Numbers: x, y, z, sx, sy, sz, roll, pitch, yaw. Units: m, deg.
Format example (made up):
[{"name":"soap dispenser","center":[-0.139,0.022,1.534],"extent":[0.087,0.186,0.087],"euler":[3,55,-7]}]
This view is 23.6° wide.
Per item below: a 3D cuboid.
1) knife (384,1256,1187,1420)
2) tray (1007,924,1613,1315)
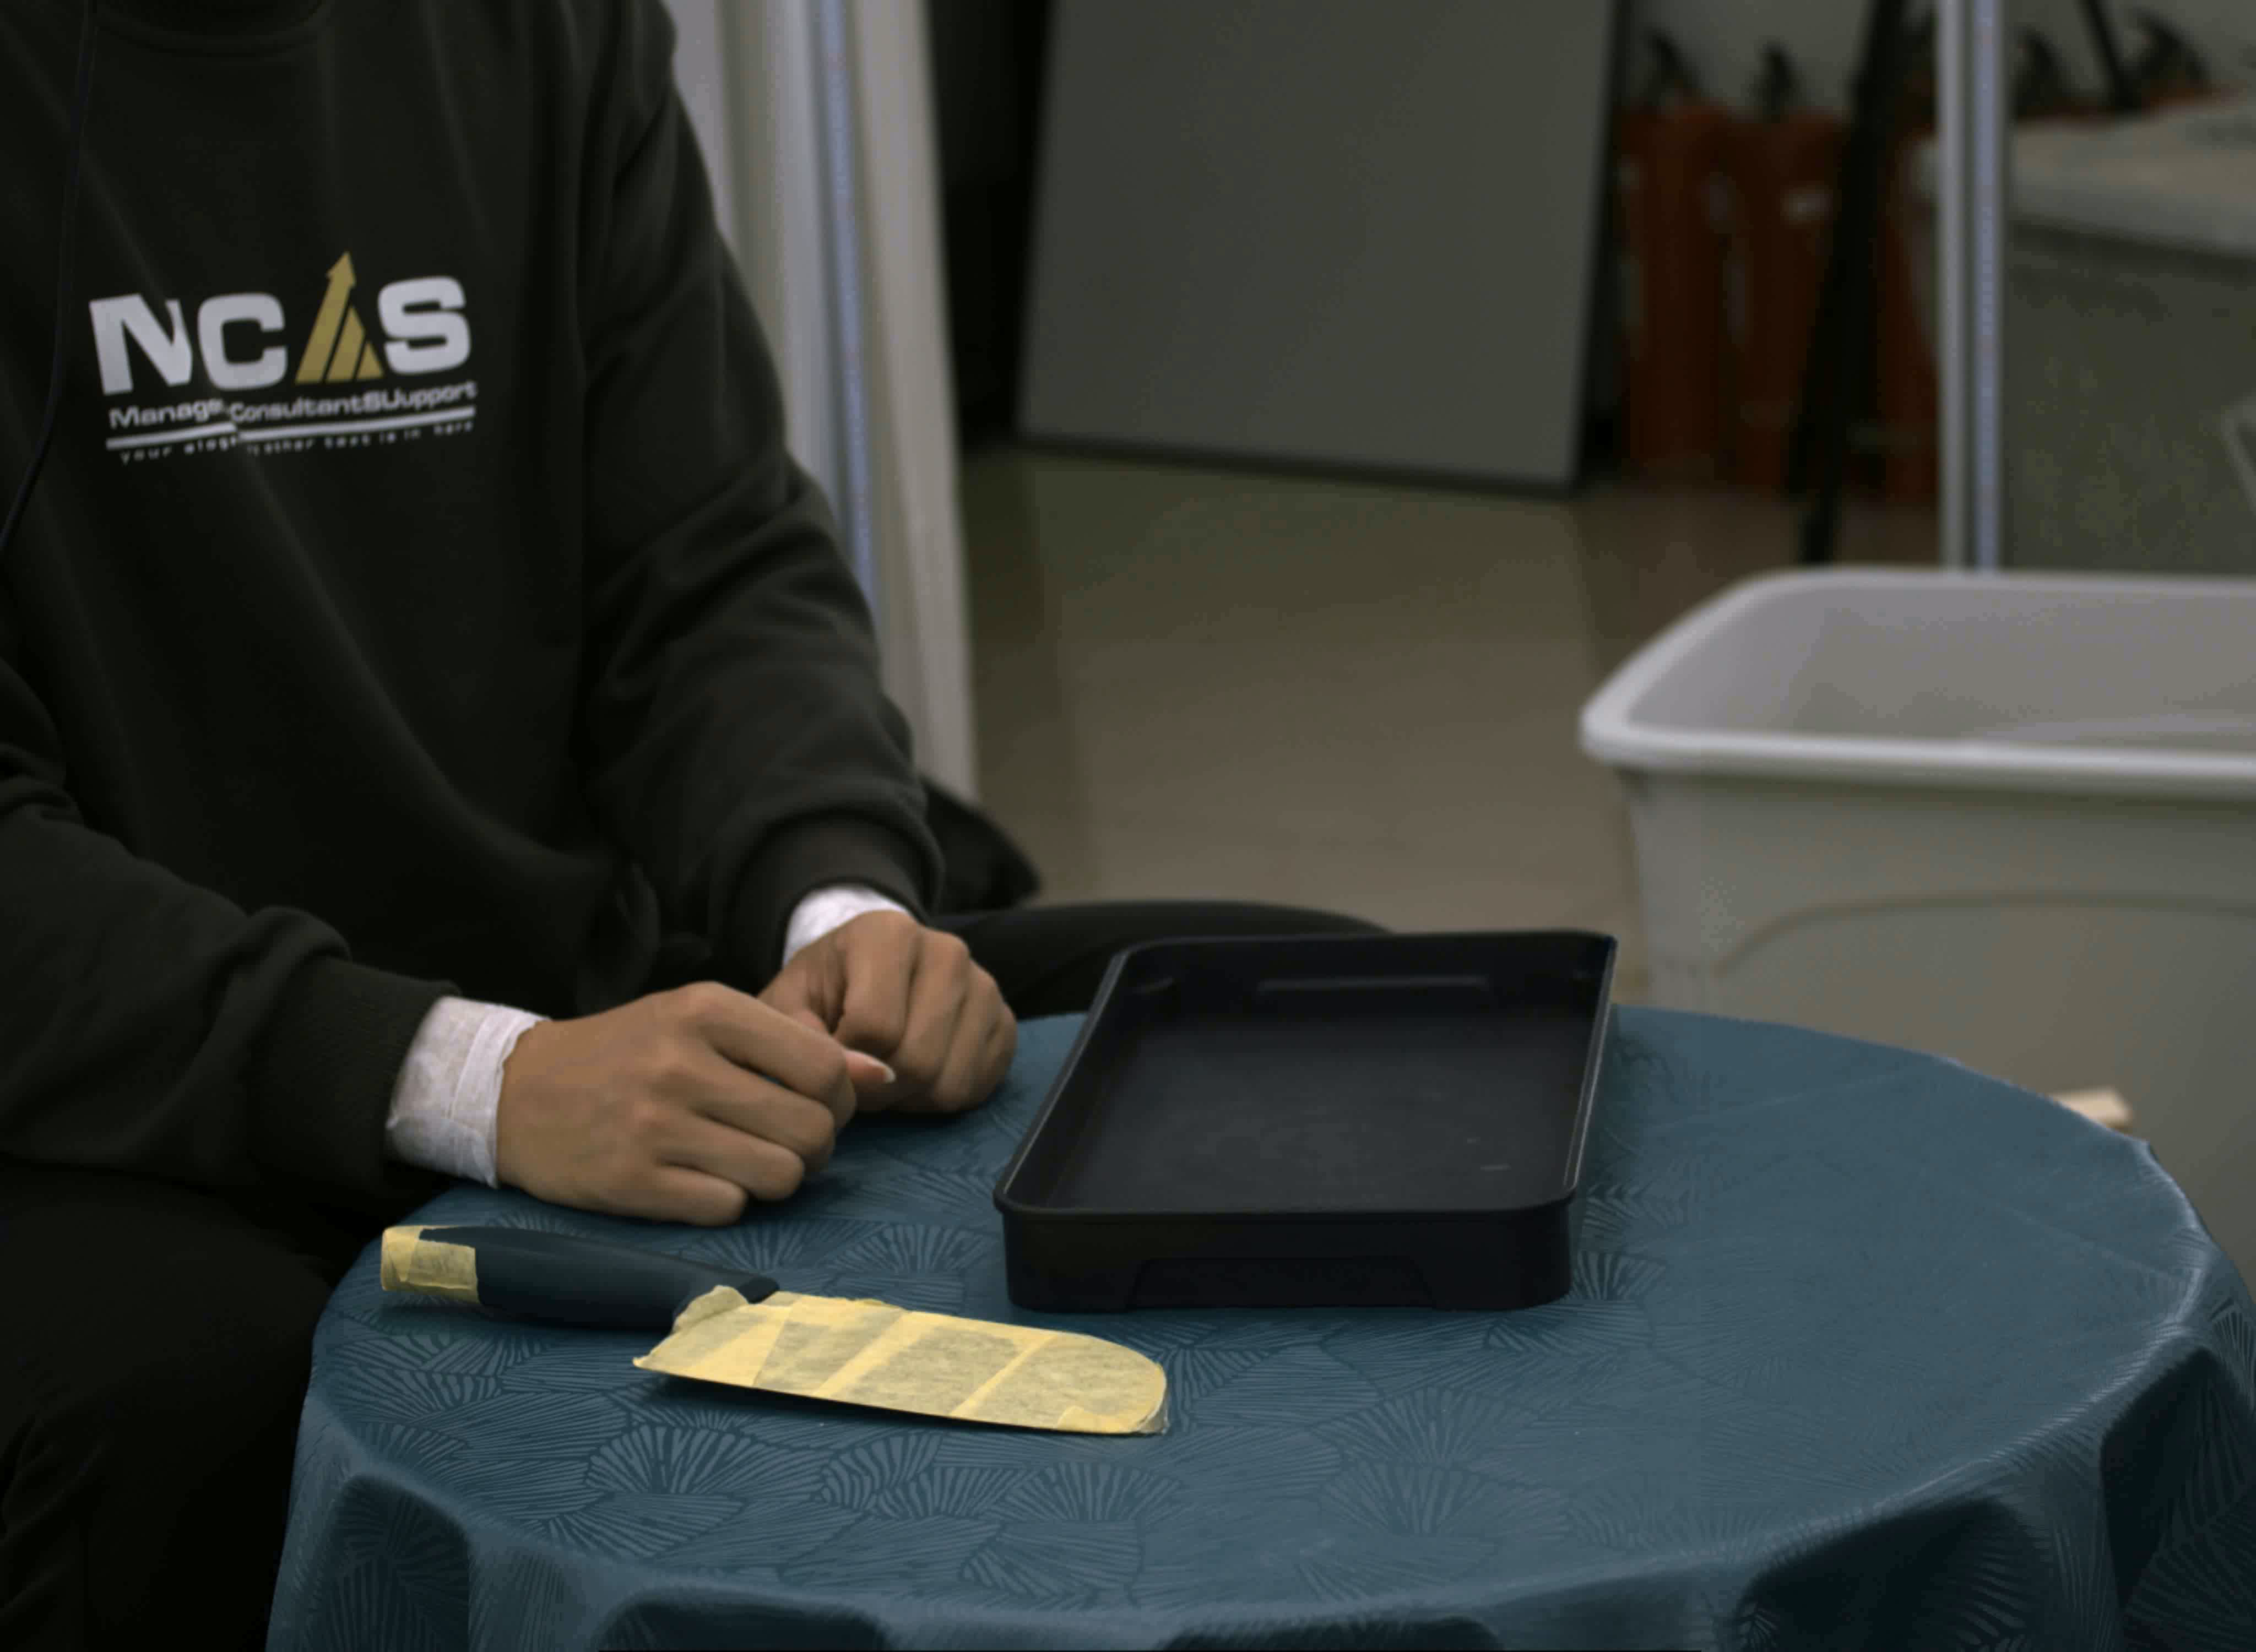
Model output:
[{"name":"knife","center":[-0.110,0.157,1.631],"extent":[0.290,0.027,0.080],"euler":[4,14,28]},{"name":"tray","center":[0.069,0.093,1.795],"extent":[0.183,0.037,0.317],"euler":[-3,14,8]}]
